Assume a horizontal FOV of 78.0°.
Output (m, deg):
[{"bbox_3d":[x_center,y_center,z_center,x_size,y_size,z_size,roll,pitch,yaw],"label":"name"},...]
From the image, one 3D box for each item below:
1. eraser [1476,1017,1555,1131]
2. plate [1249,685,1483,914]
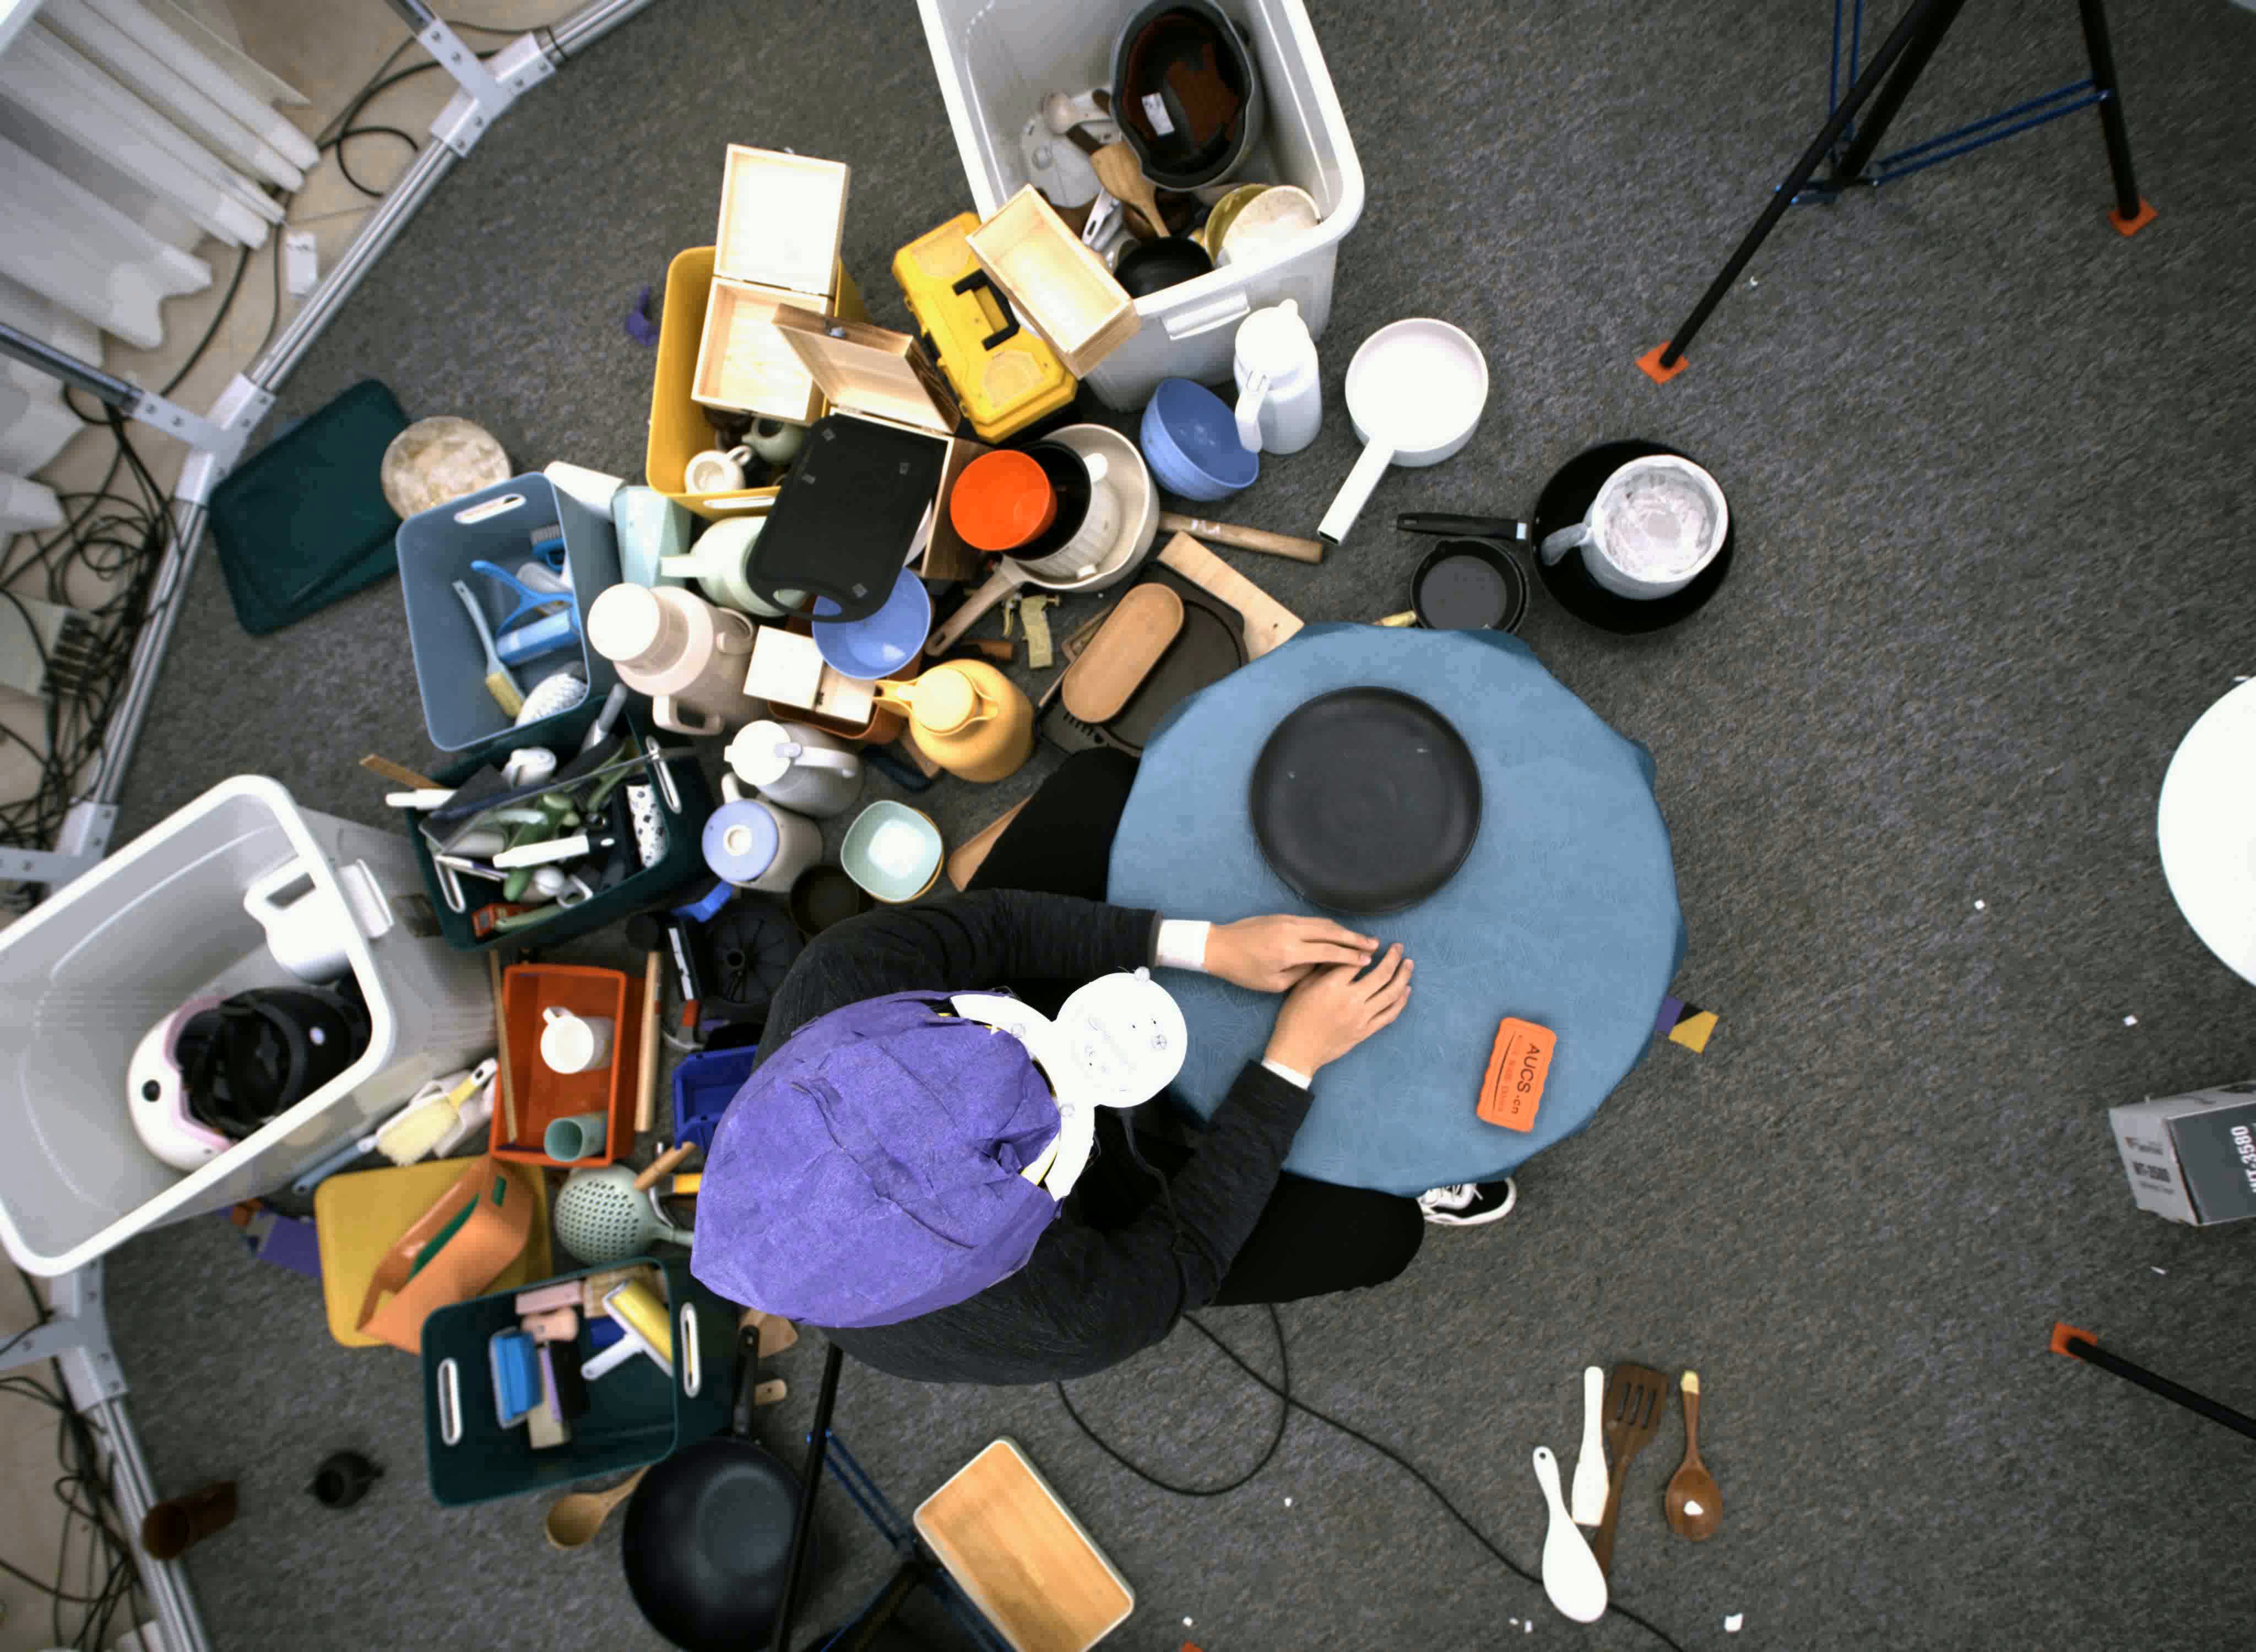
[{"bbox_3d":[0.397,0.250,1.411,0.059,0.023,0.108,16,92,13],"label":"eraser"},{"bbox_3d":[0.249,-0.029,1.458,0.245,0.023,0.243,-1,87,10],"label":"plate"}]
